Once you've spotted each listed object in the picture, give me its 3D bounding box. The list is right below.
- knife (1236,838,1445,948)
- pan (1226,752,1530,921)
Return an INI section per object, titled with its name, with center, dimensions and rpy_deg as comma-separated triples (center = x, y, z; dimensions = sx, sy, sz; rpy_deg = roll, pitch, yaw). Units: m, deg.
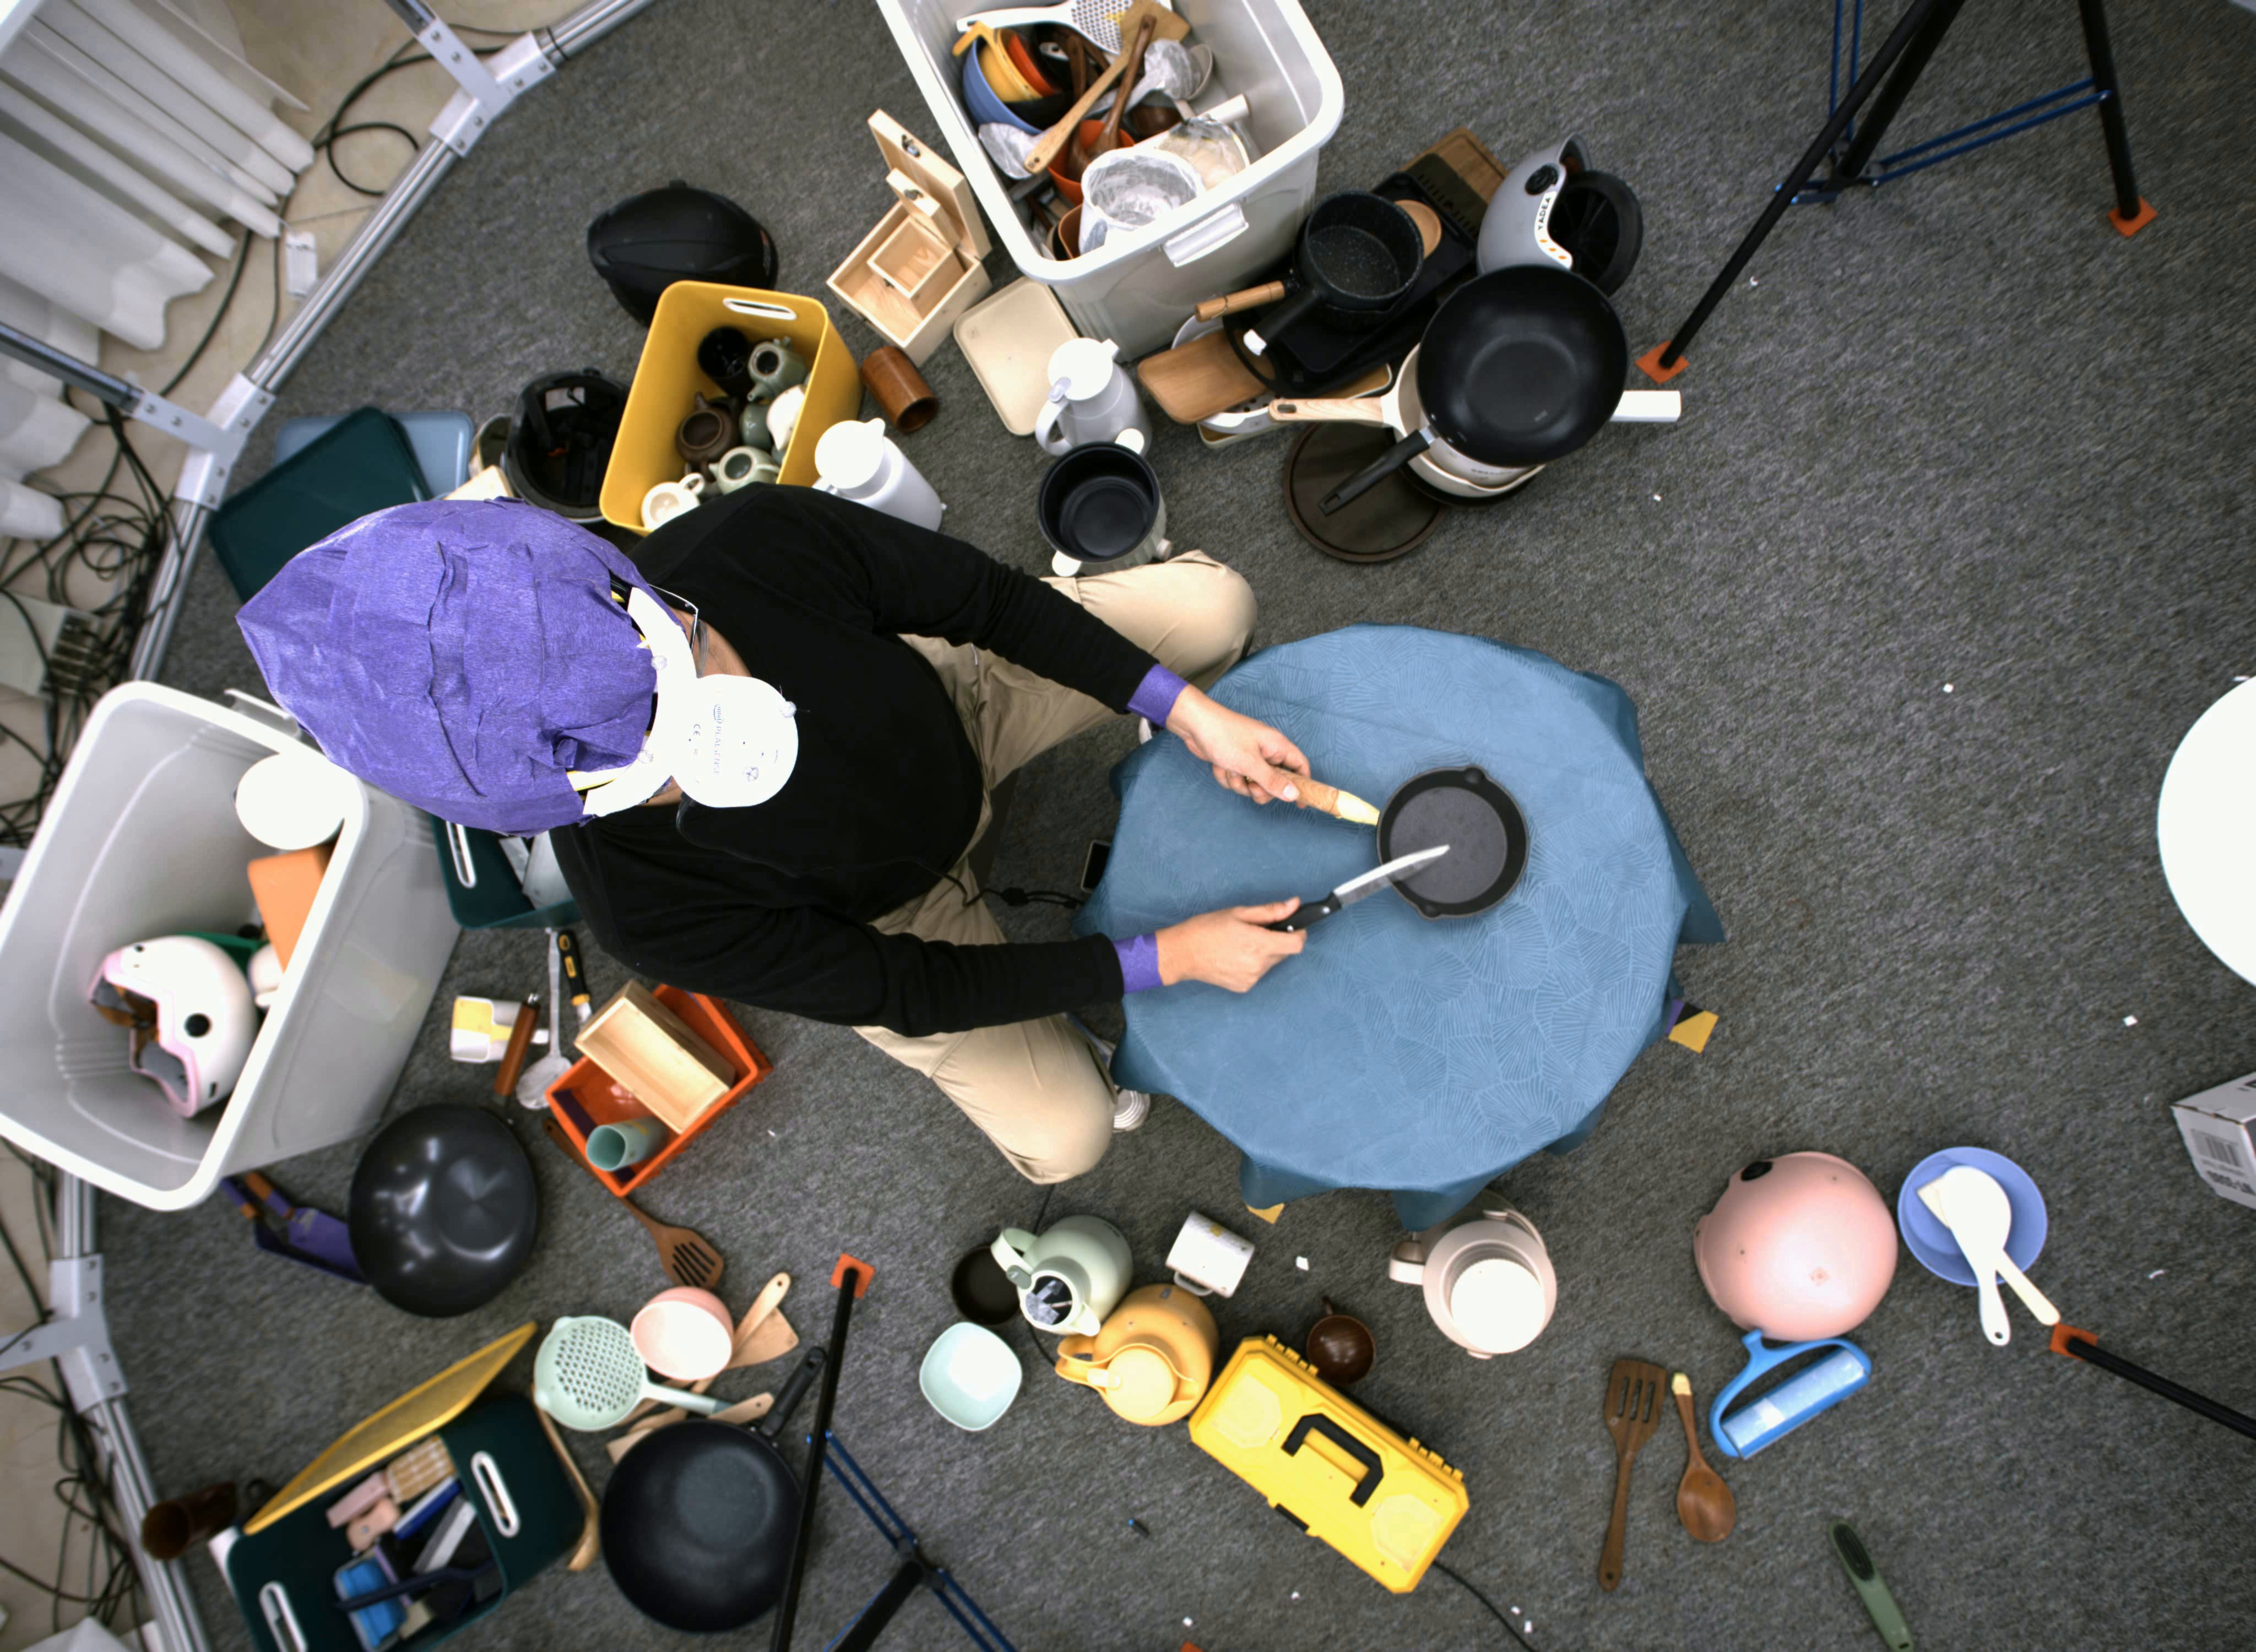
[knife]
center = 0.219, 0.068, 1.419
dimensions = 0.240, 0.016, 0.024
rpy_deg = -28, 106, 14
[pan]
center = 0.256, -0.013, 1.429
dimensions = 0.324, 0.049, 0.168
rpy_deg = 21, 88, 6
